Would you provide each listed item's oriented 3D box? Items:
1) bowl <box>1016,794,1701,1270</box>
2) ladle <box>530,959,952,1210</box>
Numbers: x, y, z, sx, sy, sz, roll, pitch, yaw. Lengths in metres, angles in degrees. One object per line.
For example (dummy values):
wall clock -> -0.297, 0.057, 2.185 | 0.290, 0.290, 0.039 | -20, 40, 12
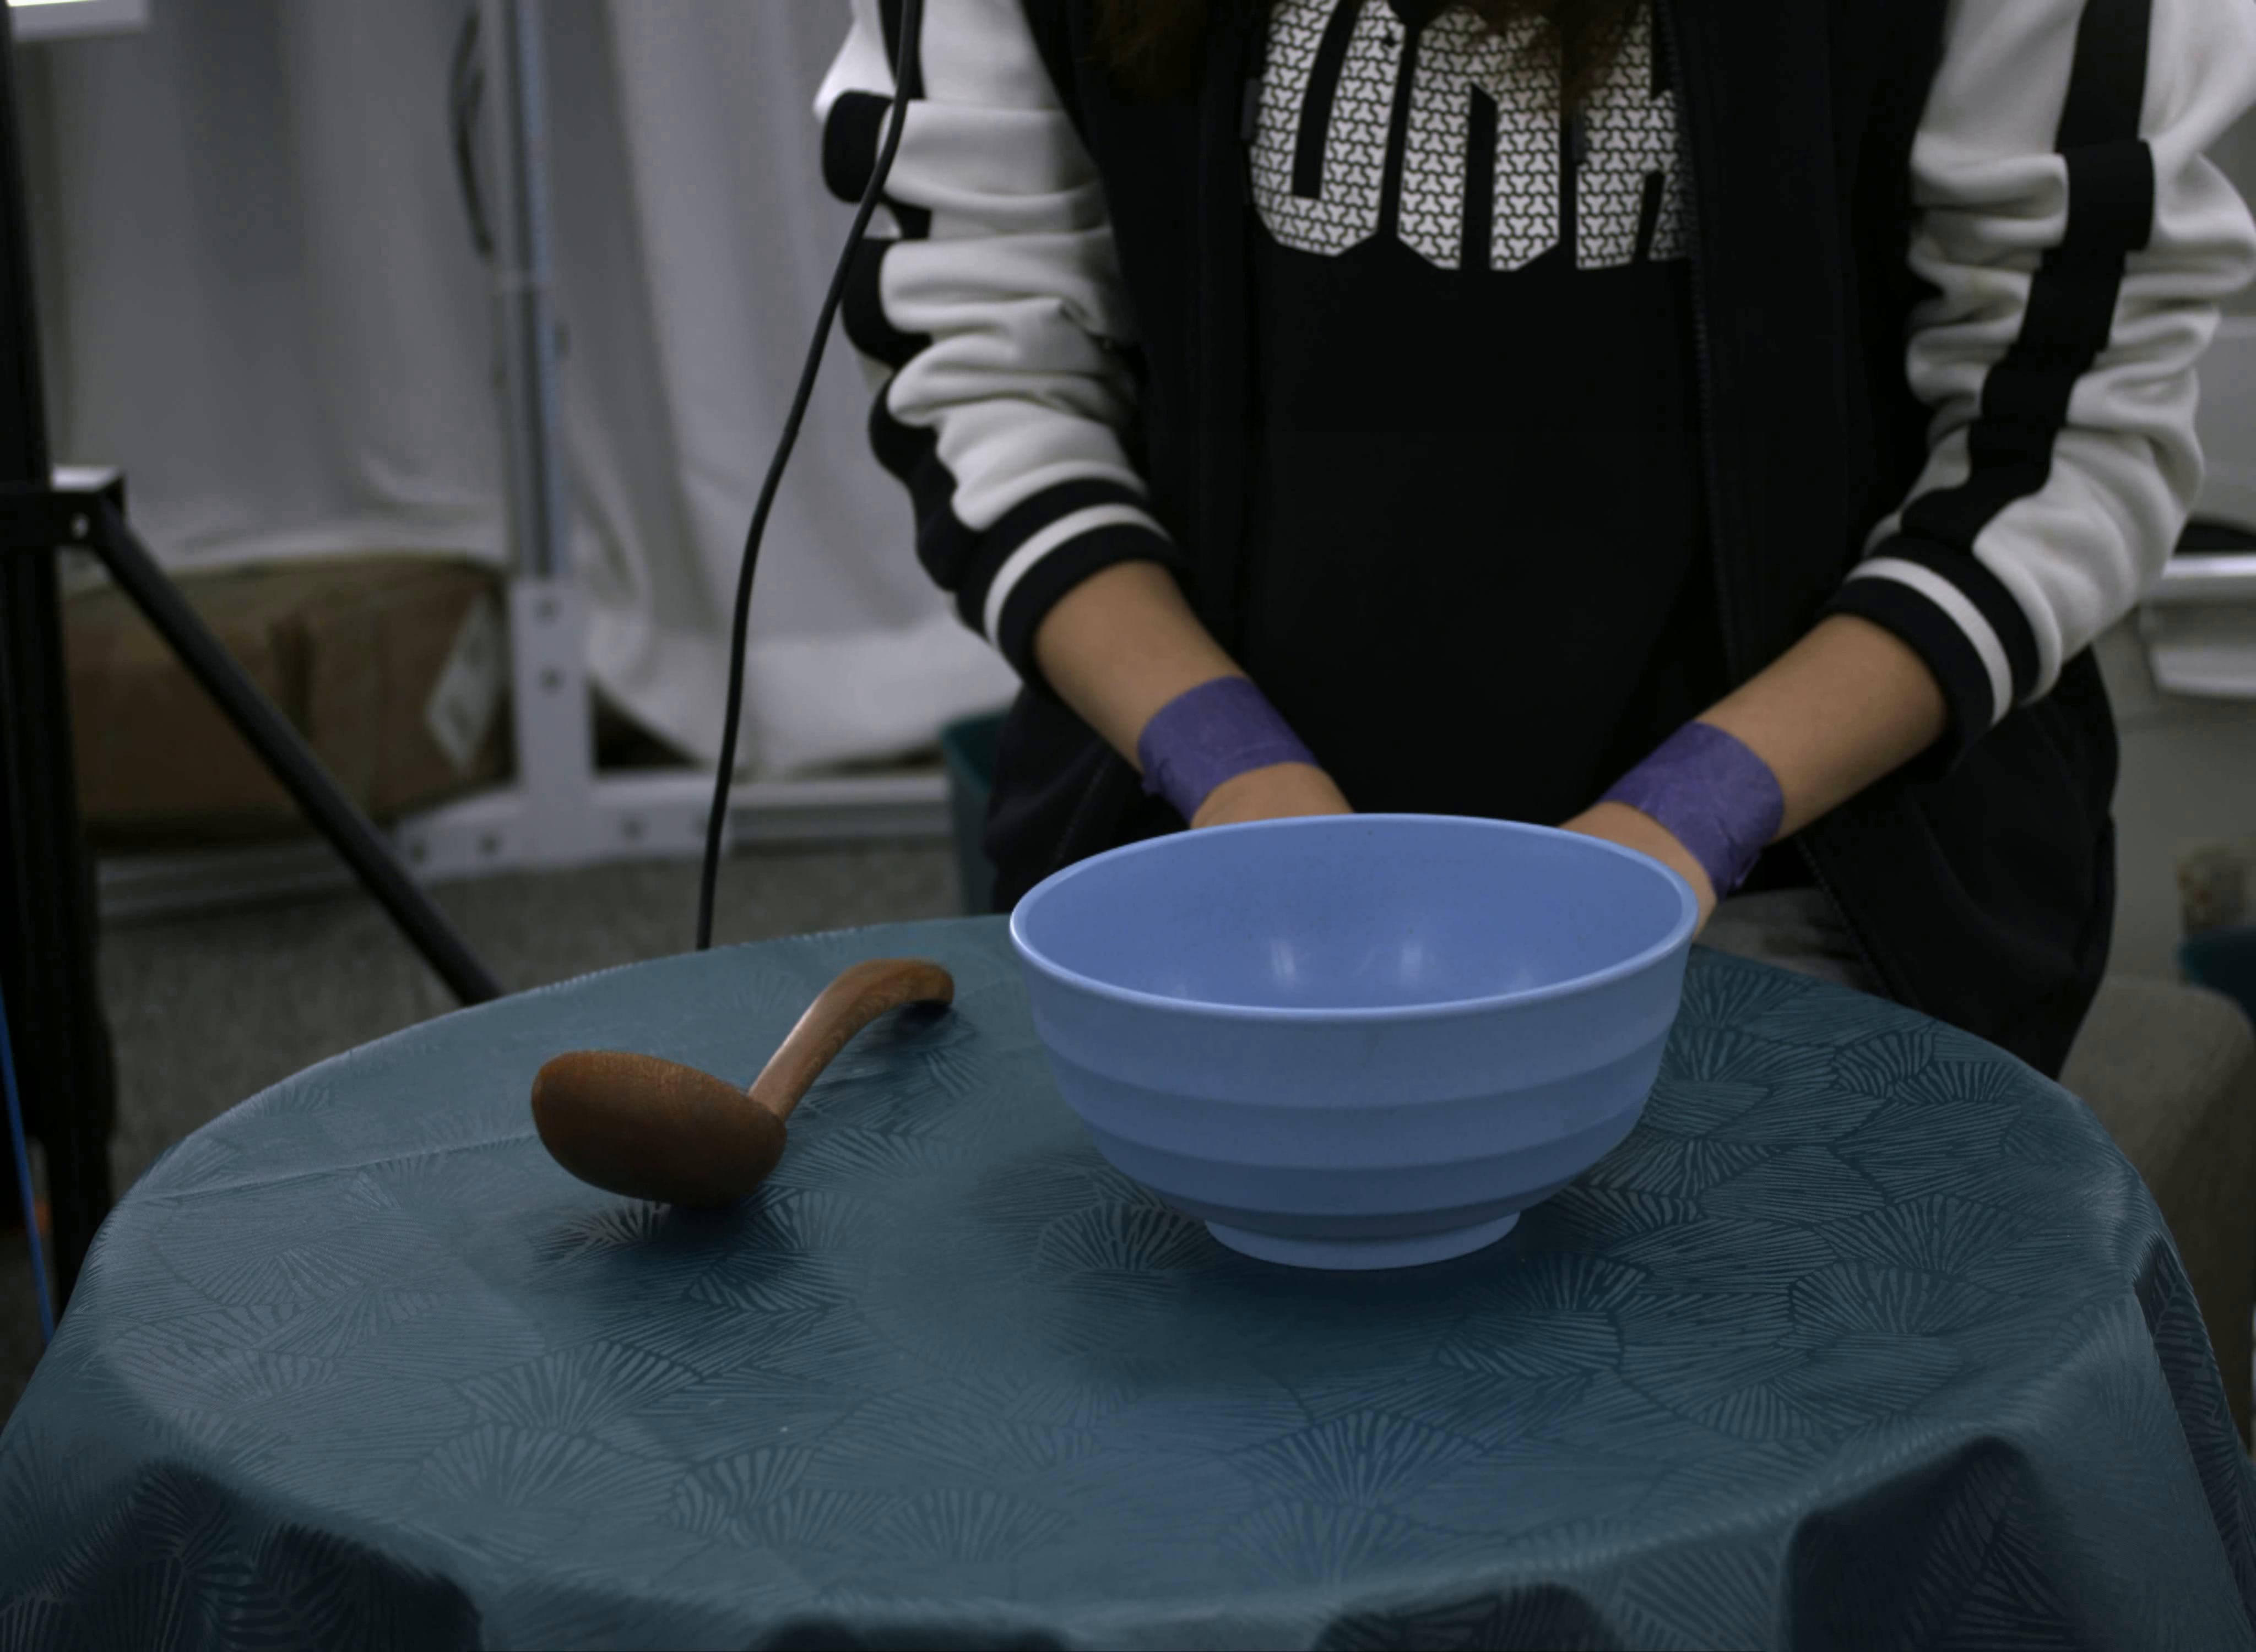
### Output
bowl -> 0.071, 0.066, 1.522 | 0.196, 0.095, 0.197 | -8, 17, 1
ladle -> -0.105, 0.062, 1.624 | 0.077, 0.065, 0.257 | 9, 18, 17
